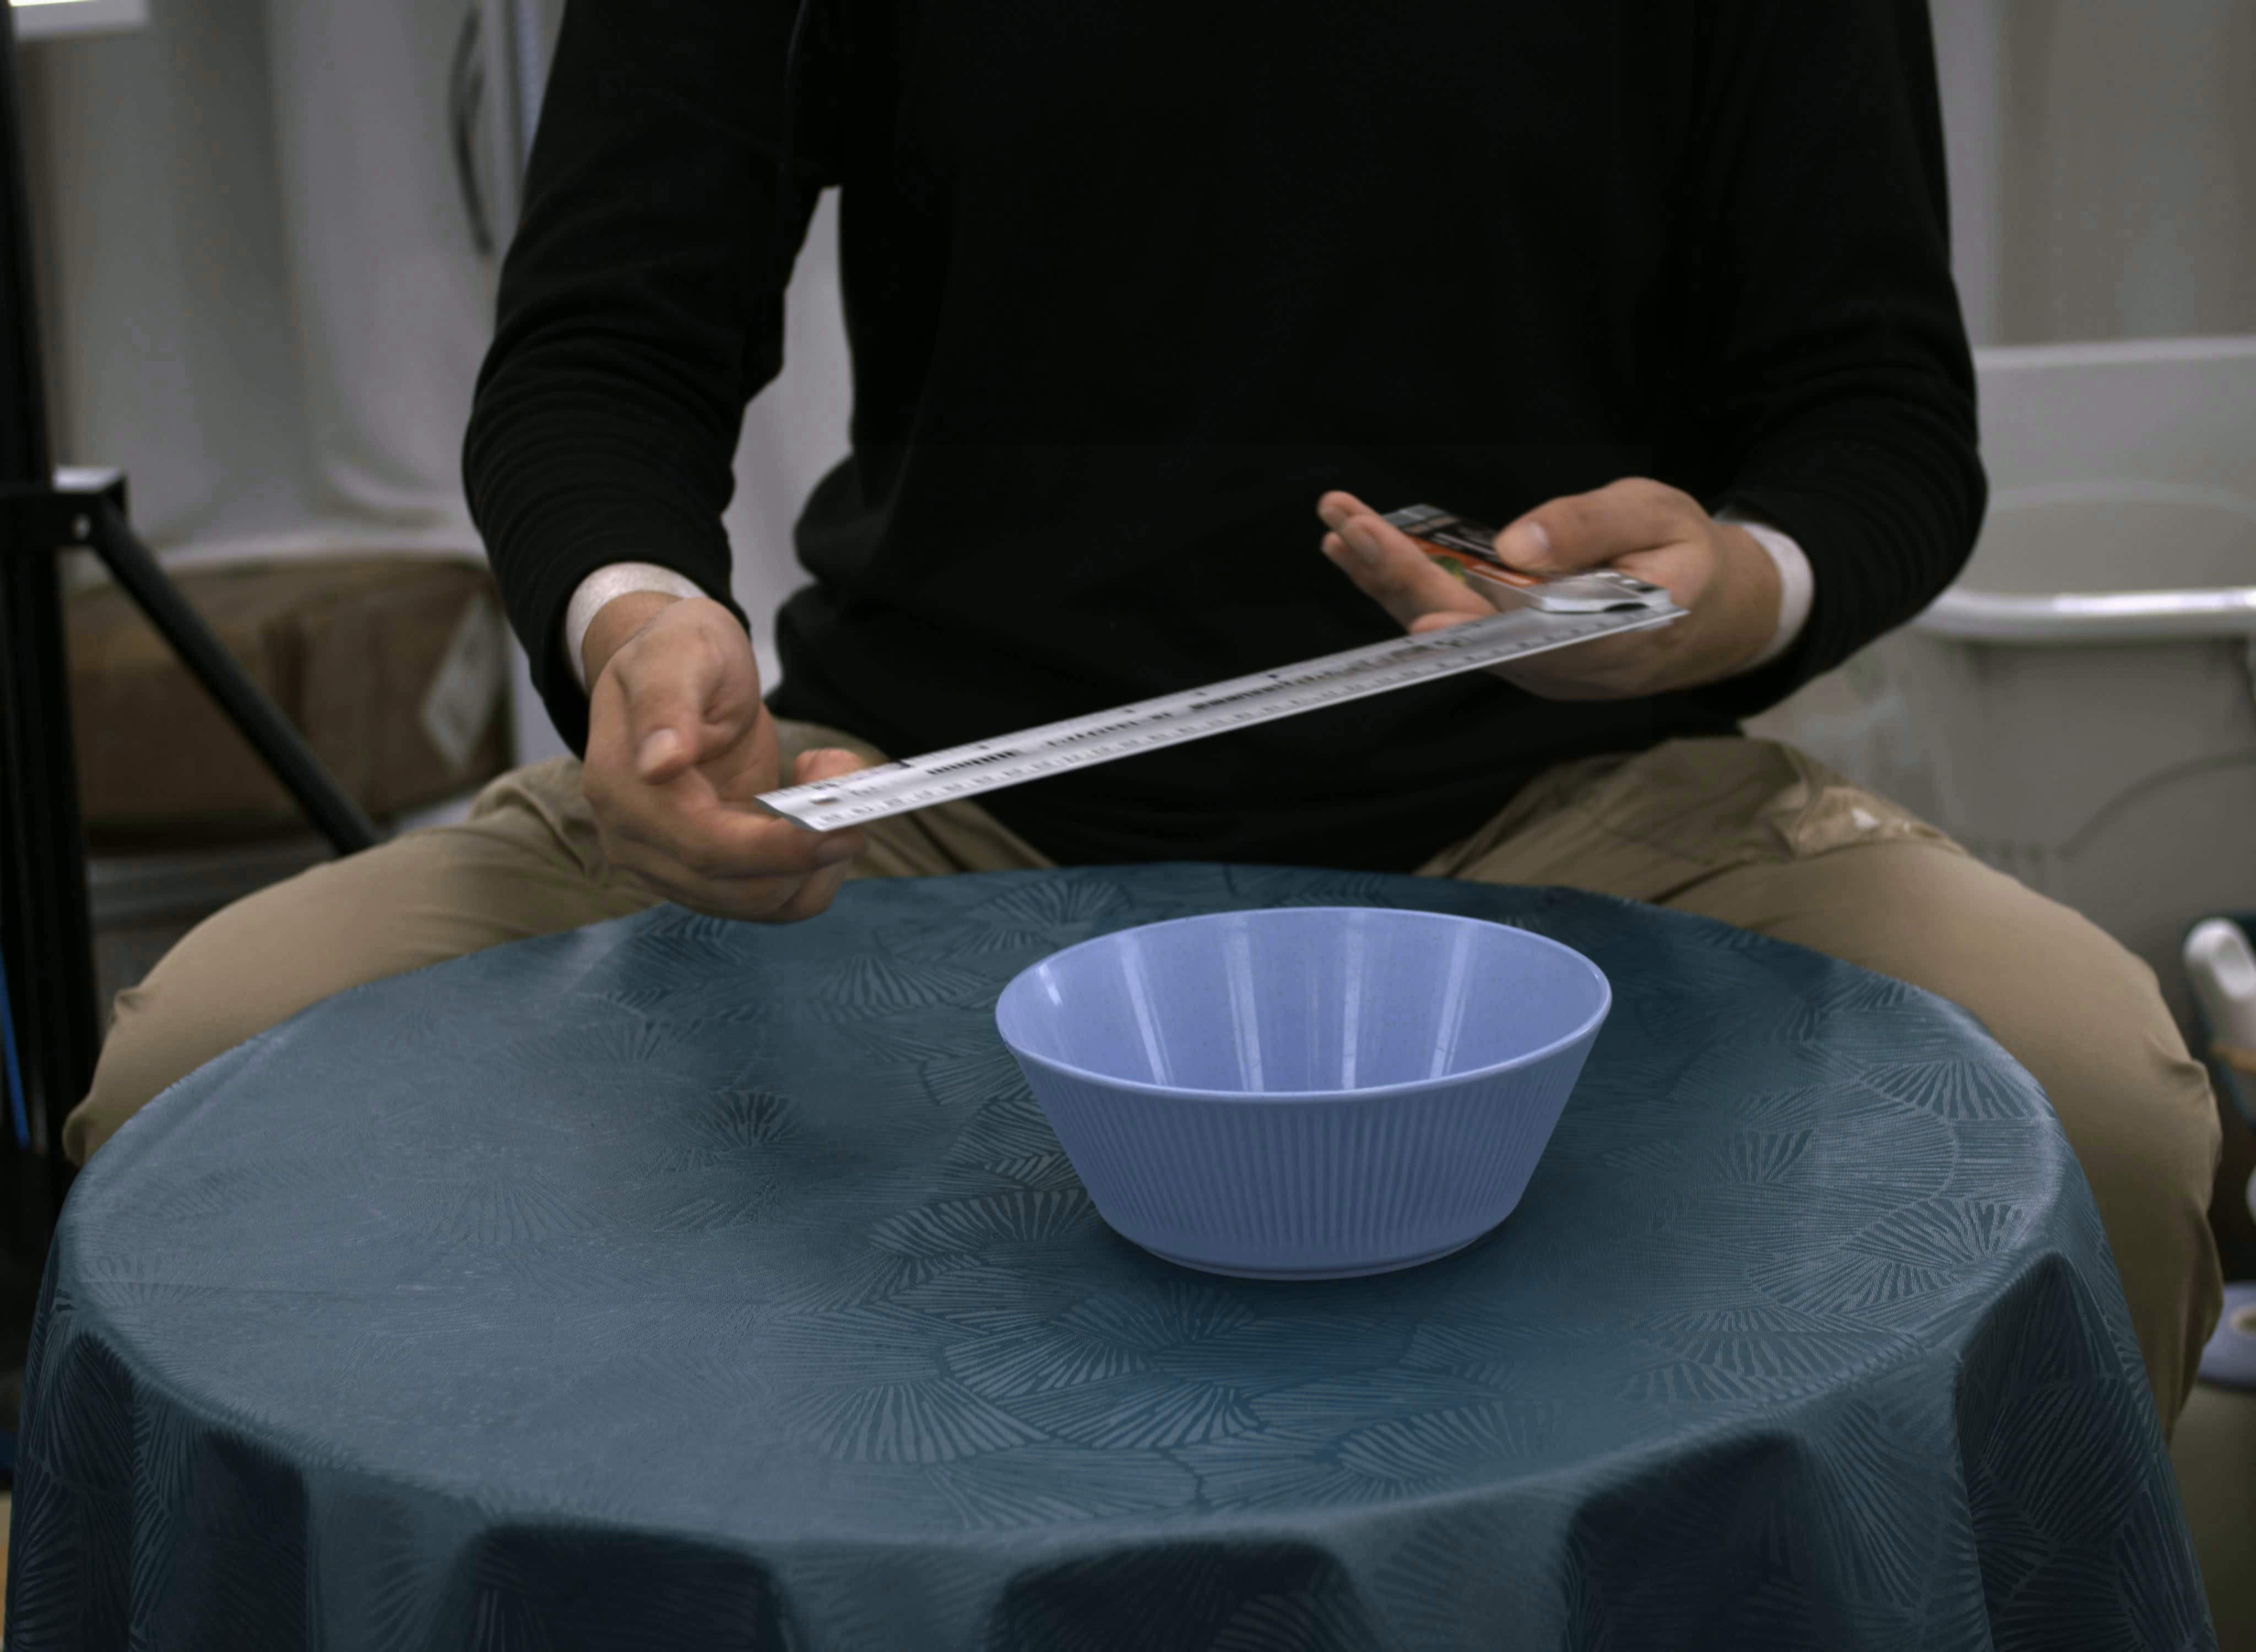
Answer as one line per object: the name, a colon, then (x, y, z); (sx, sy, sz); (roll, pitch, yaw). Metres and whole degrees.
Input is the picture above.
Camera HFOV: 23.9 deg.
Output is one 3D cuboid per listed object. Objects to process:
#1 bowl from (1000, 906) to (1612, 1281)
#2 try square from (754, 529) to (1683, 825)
bowl: (0.052, 0.079, 1.522); (0.175, 0.070, 0.177); (-3, 16, -1)
try square: (0.006, -0.048, 1.658); (0.306, 0.016, 0.155); (-14, 17, -26)
